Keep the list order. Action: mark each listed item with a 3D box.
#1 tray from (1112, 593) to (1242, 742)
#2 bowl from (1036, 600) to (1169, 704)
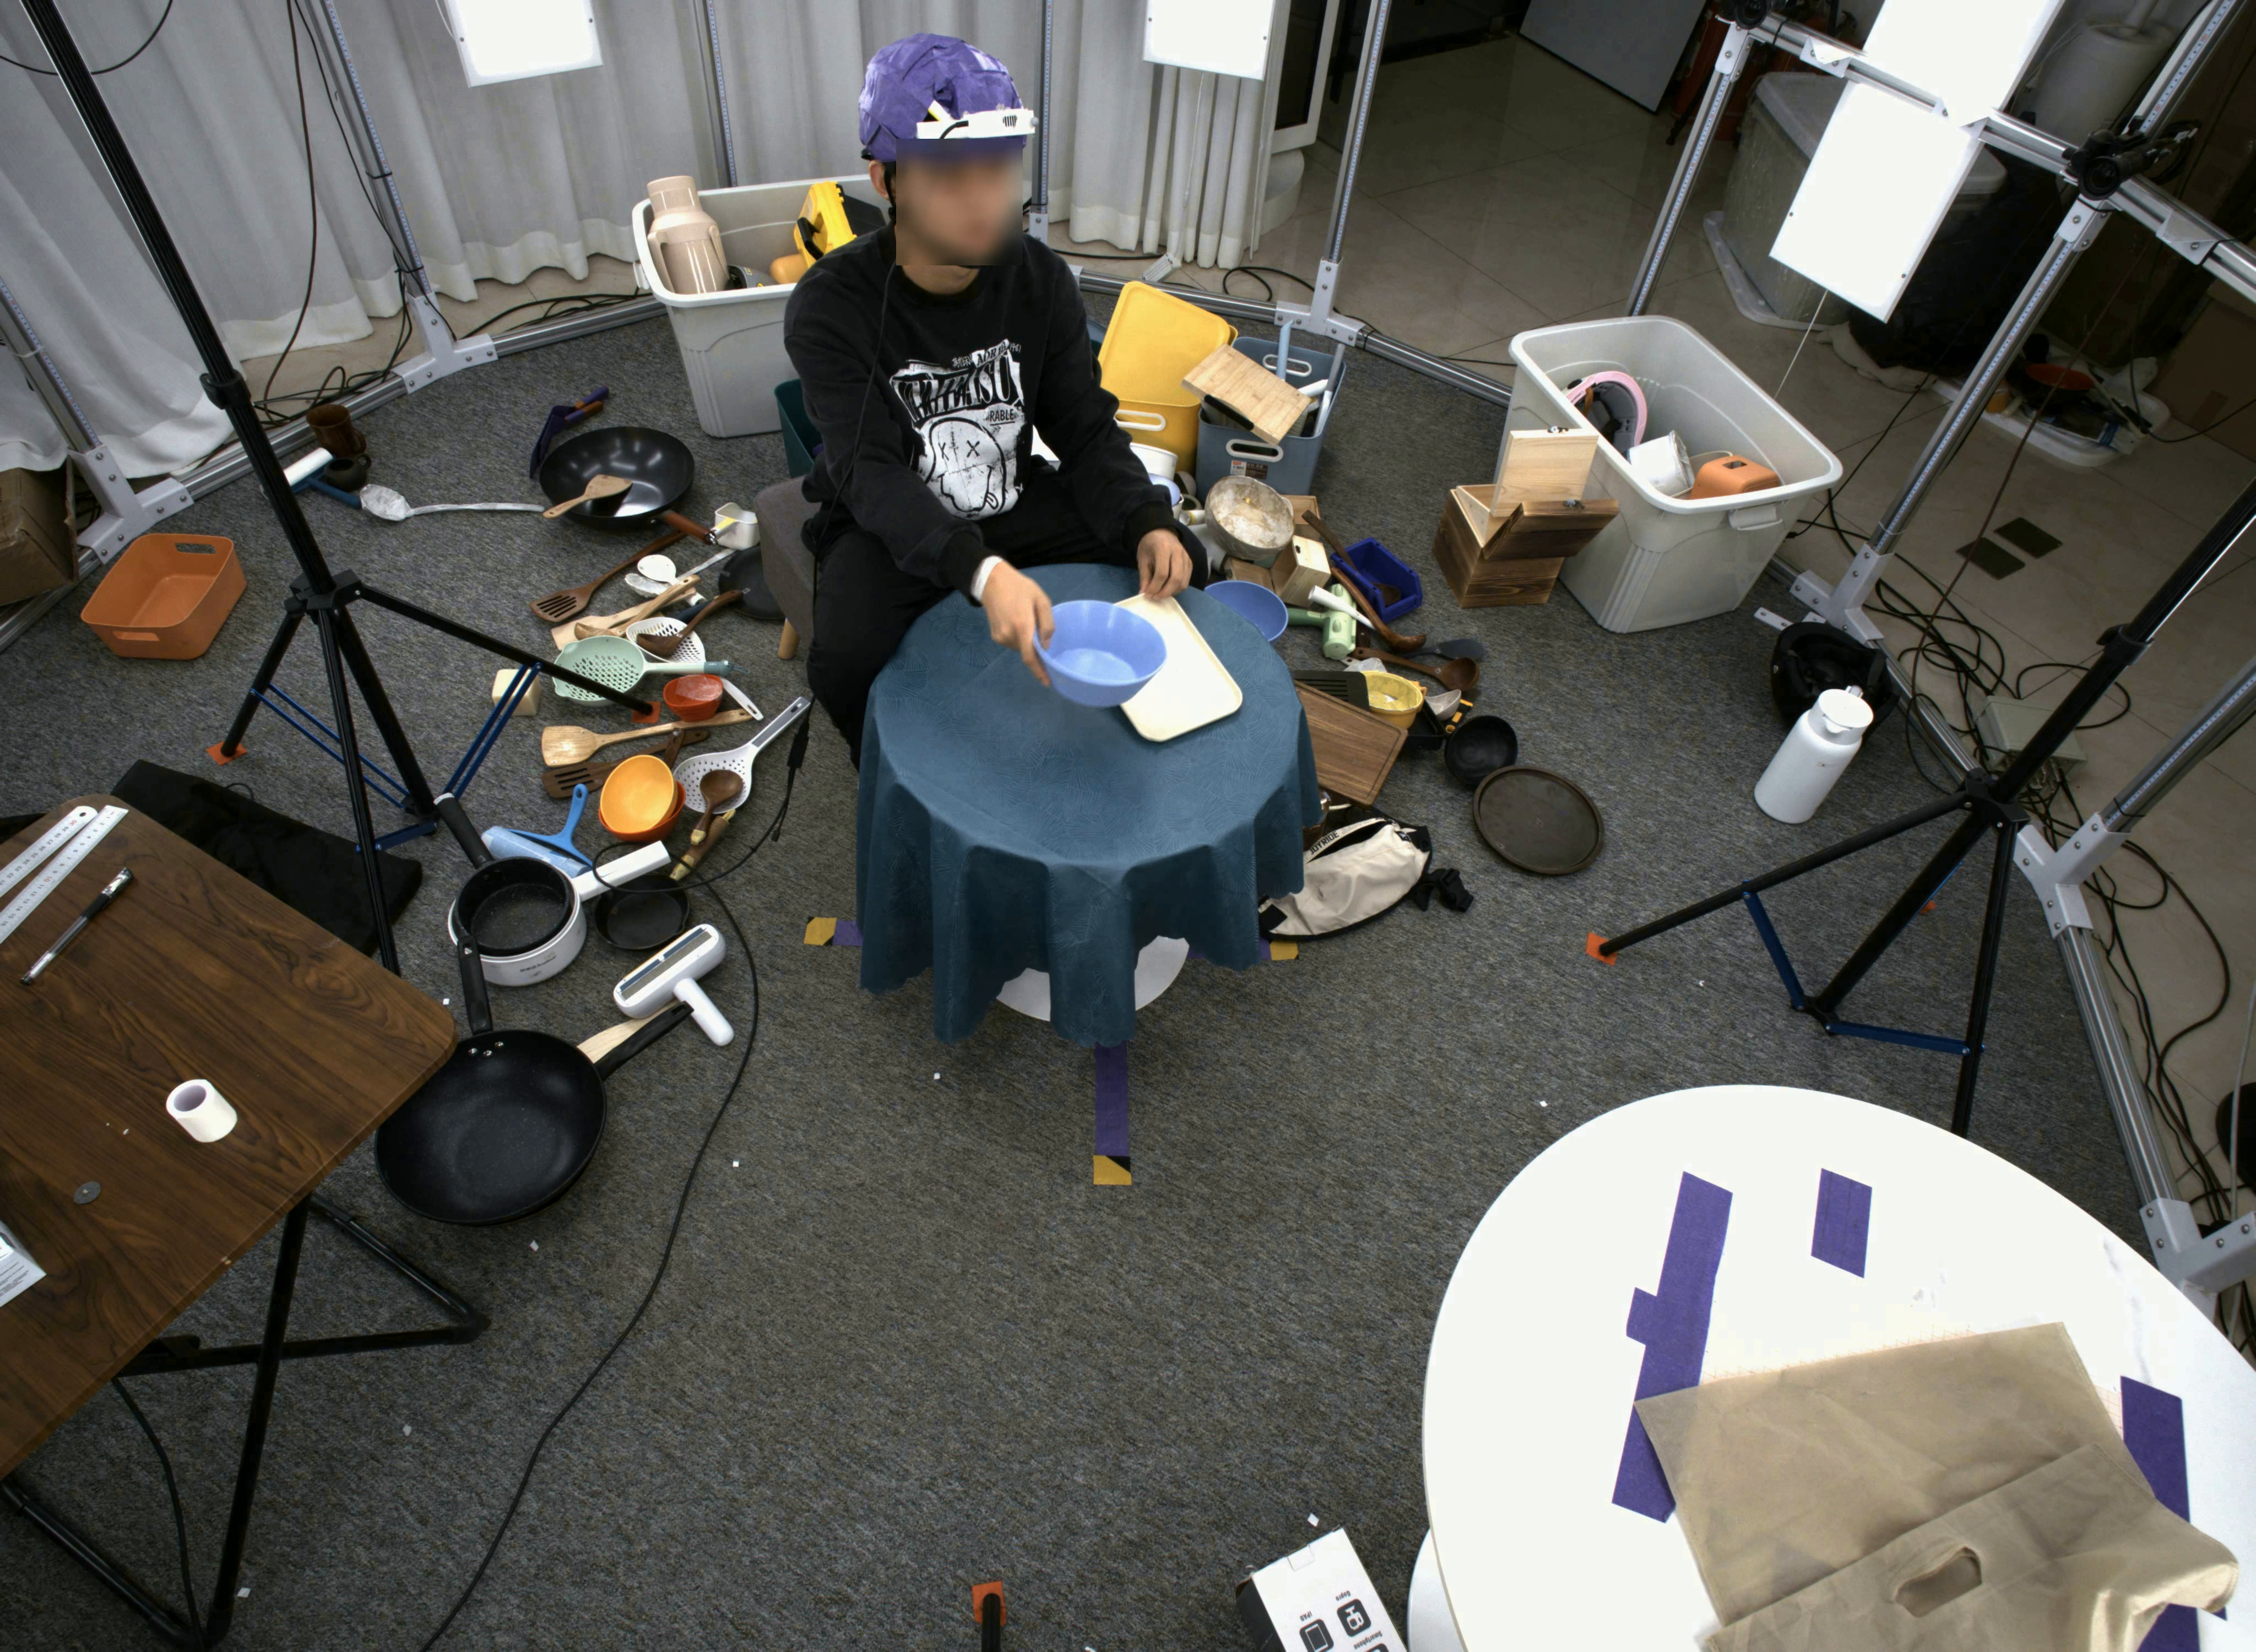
[{"bbox_3d":[0.042,-0.230,1.853,0.172,0.017,0.244,-22,63,-22],"label":"tray"},{"bbox_3d":[-0.038,-0.221,1.686,0.175,0.069,0.180,8,41,-8],"label":"bowl"}]
